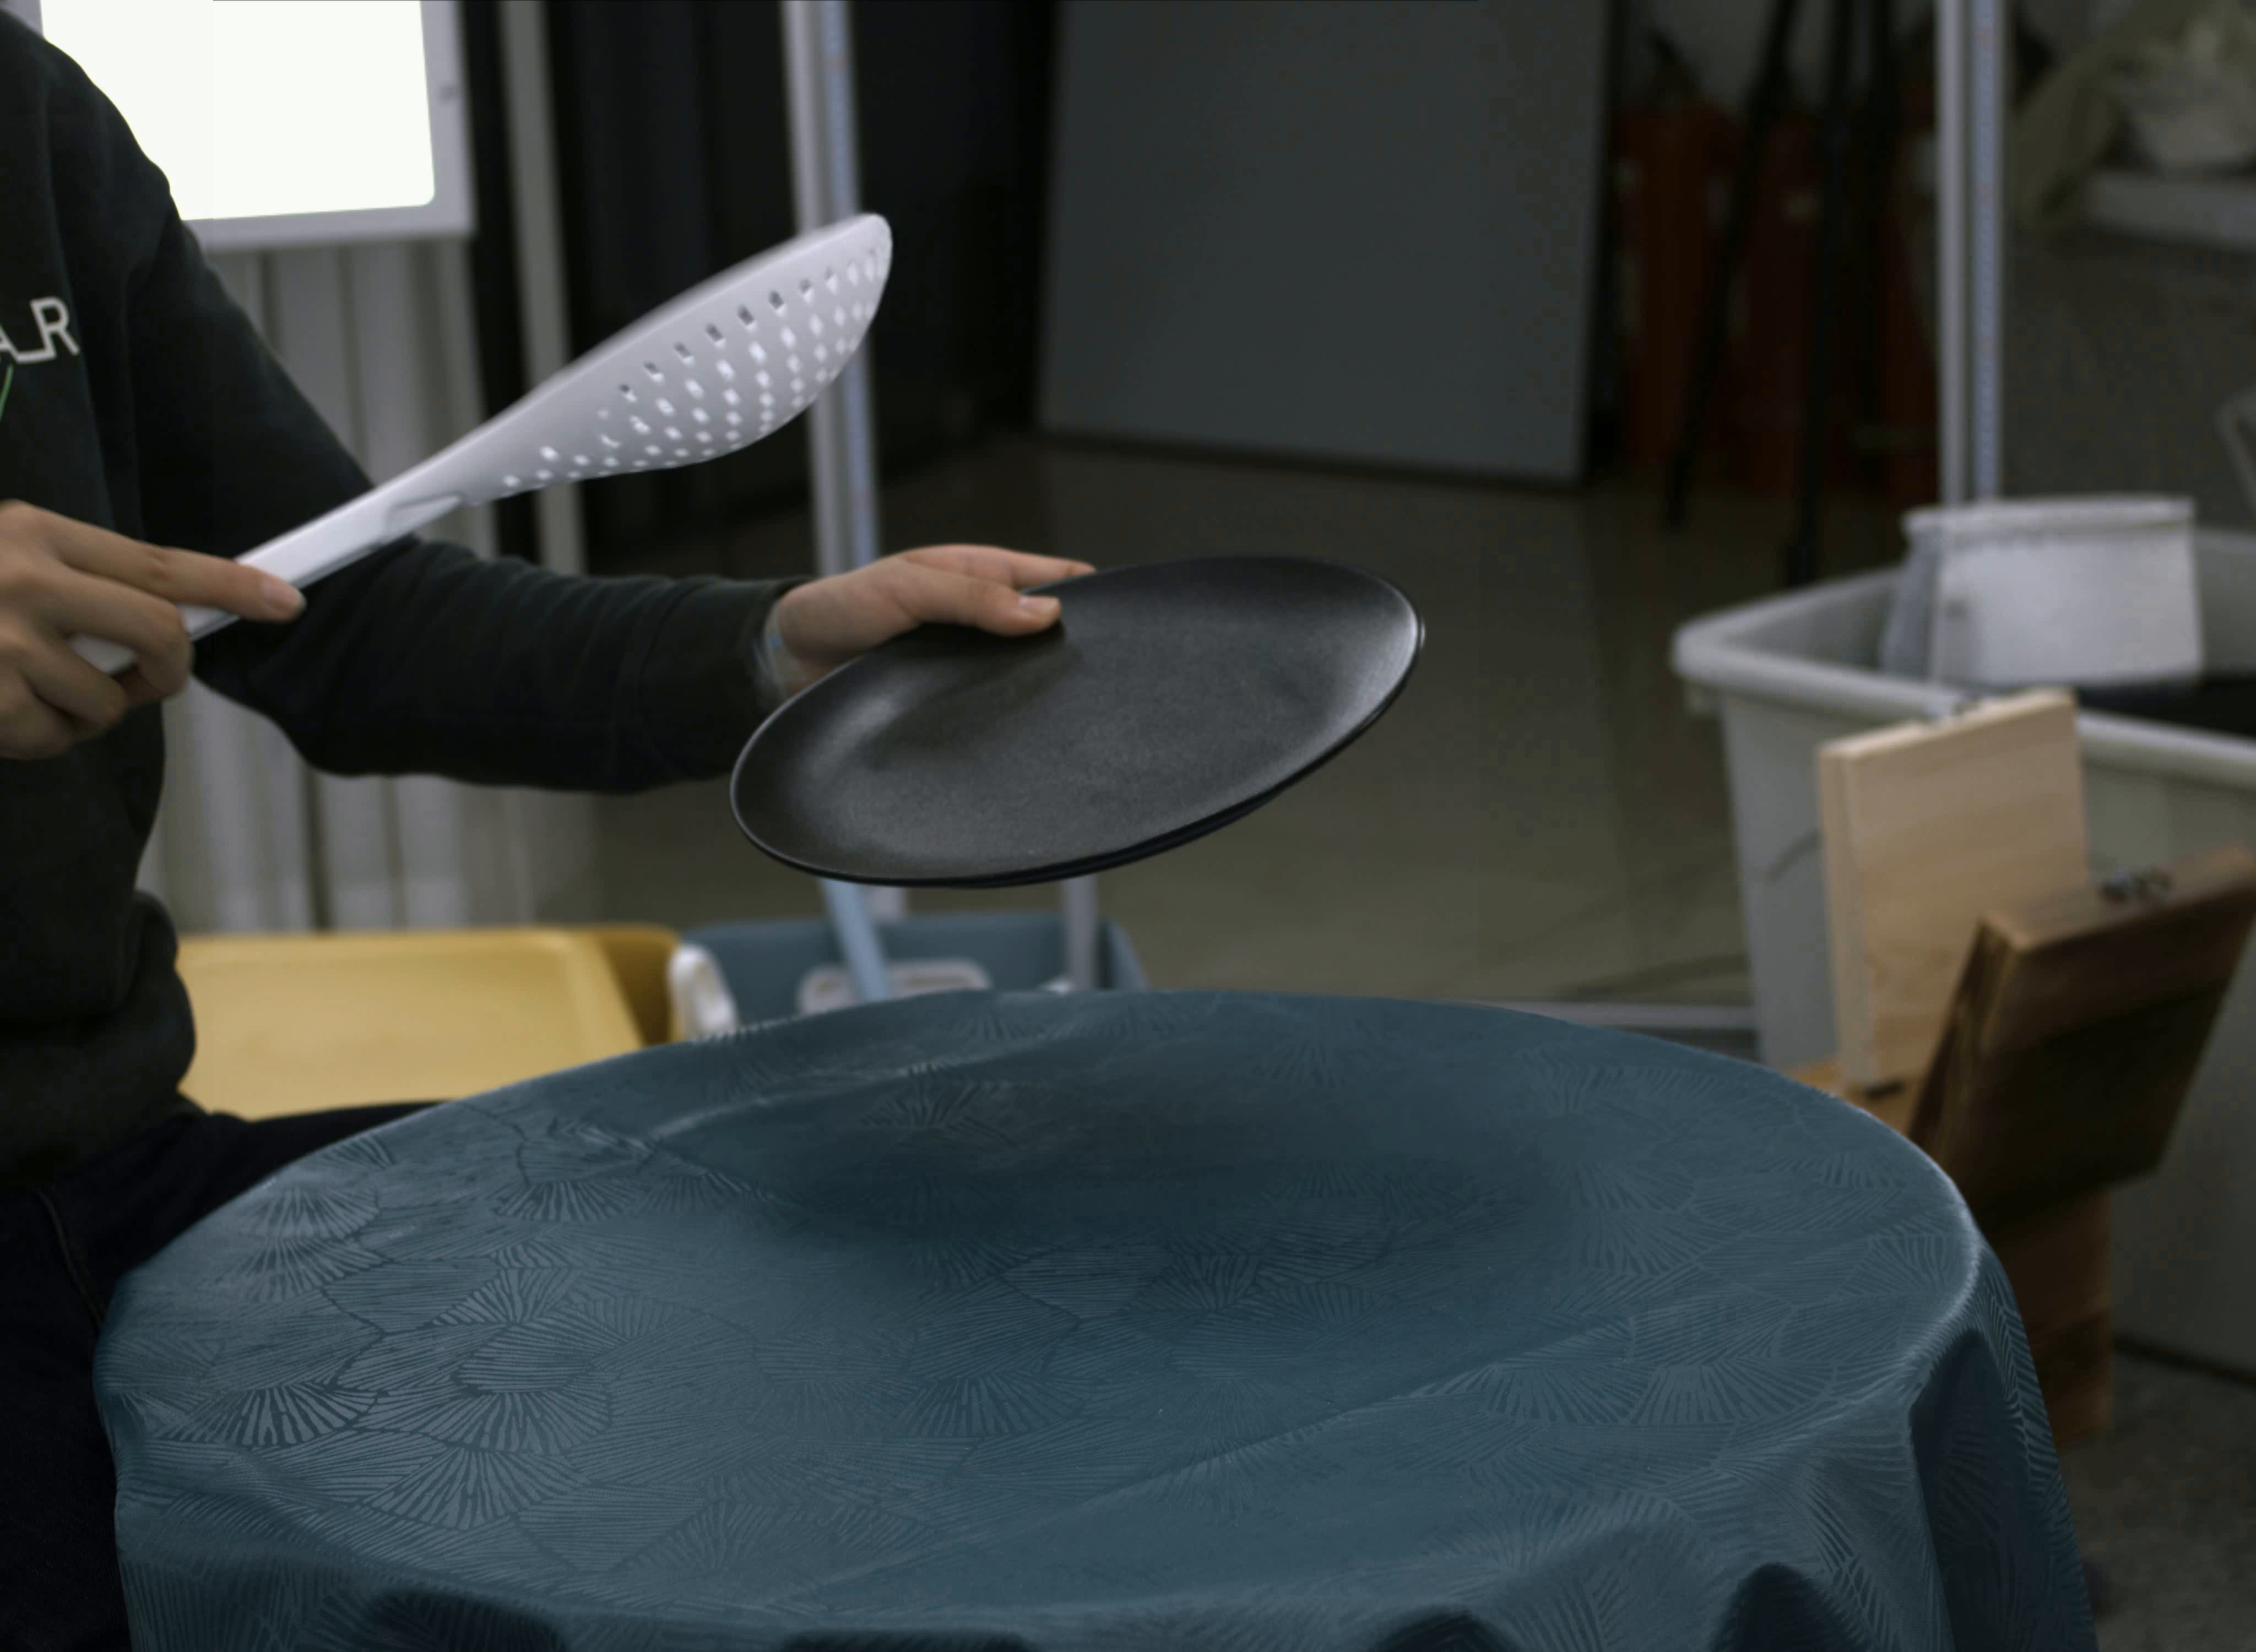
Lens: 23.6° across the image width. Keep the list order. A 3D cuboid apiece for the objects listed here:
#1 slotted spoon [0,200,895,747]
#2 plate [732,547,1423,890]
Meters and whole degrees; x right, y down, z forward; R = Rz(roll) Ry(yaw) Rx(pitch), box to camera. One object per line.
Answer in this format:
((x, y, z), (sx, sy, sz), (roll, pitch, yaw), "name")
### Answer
((-0.218, -0.102, 1.660), (0.345, 0.046, 0.137), (-25, 1, -13), "slotted spoon")
((-0.016, -0.031, 1.817), (0.242, 0.023, 0.245), (-15, 24, 5), "plate")
